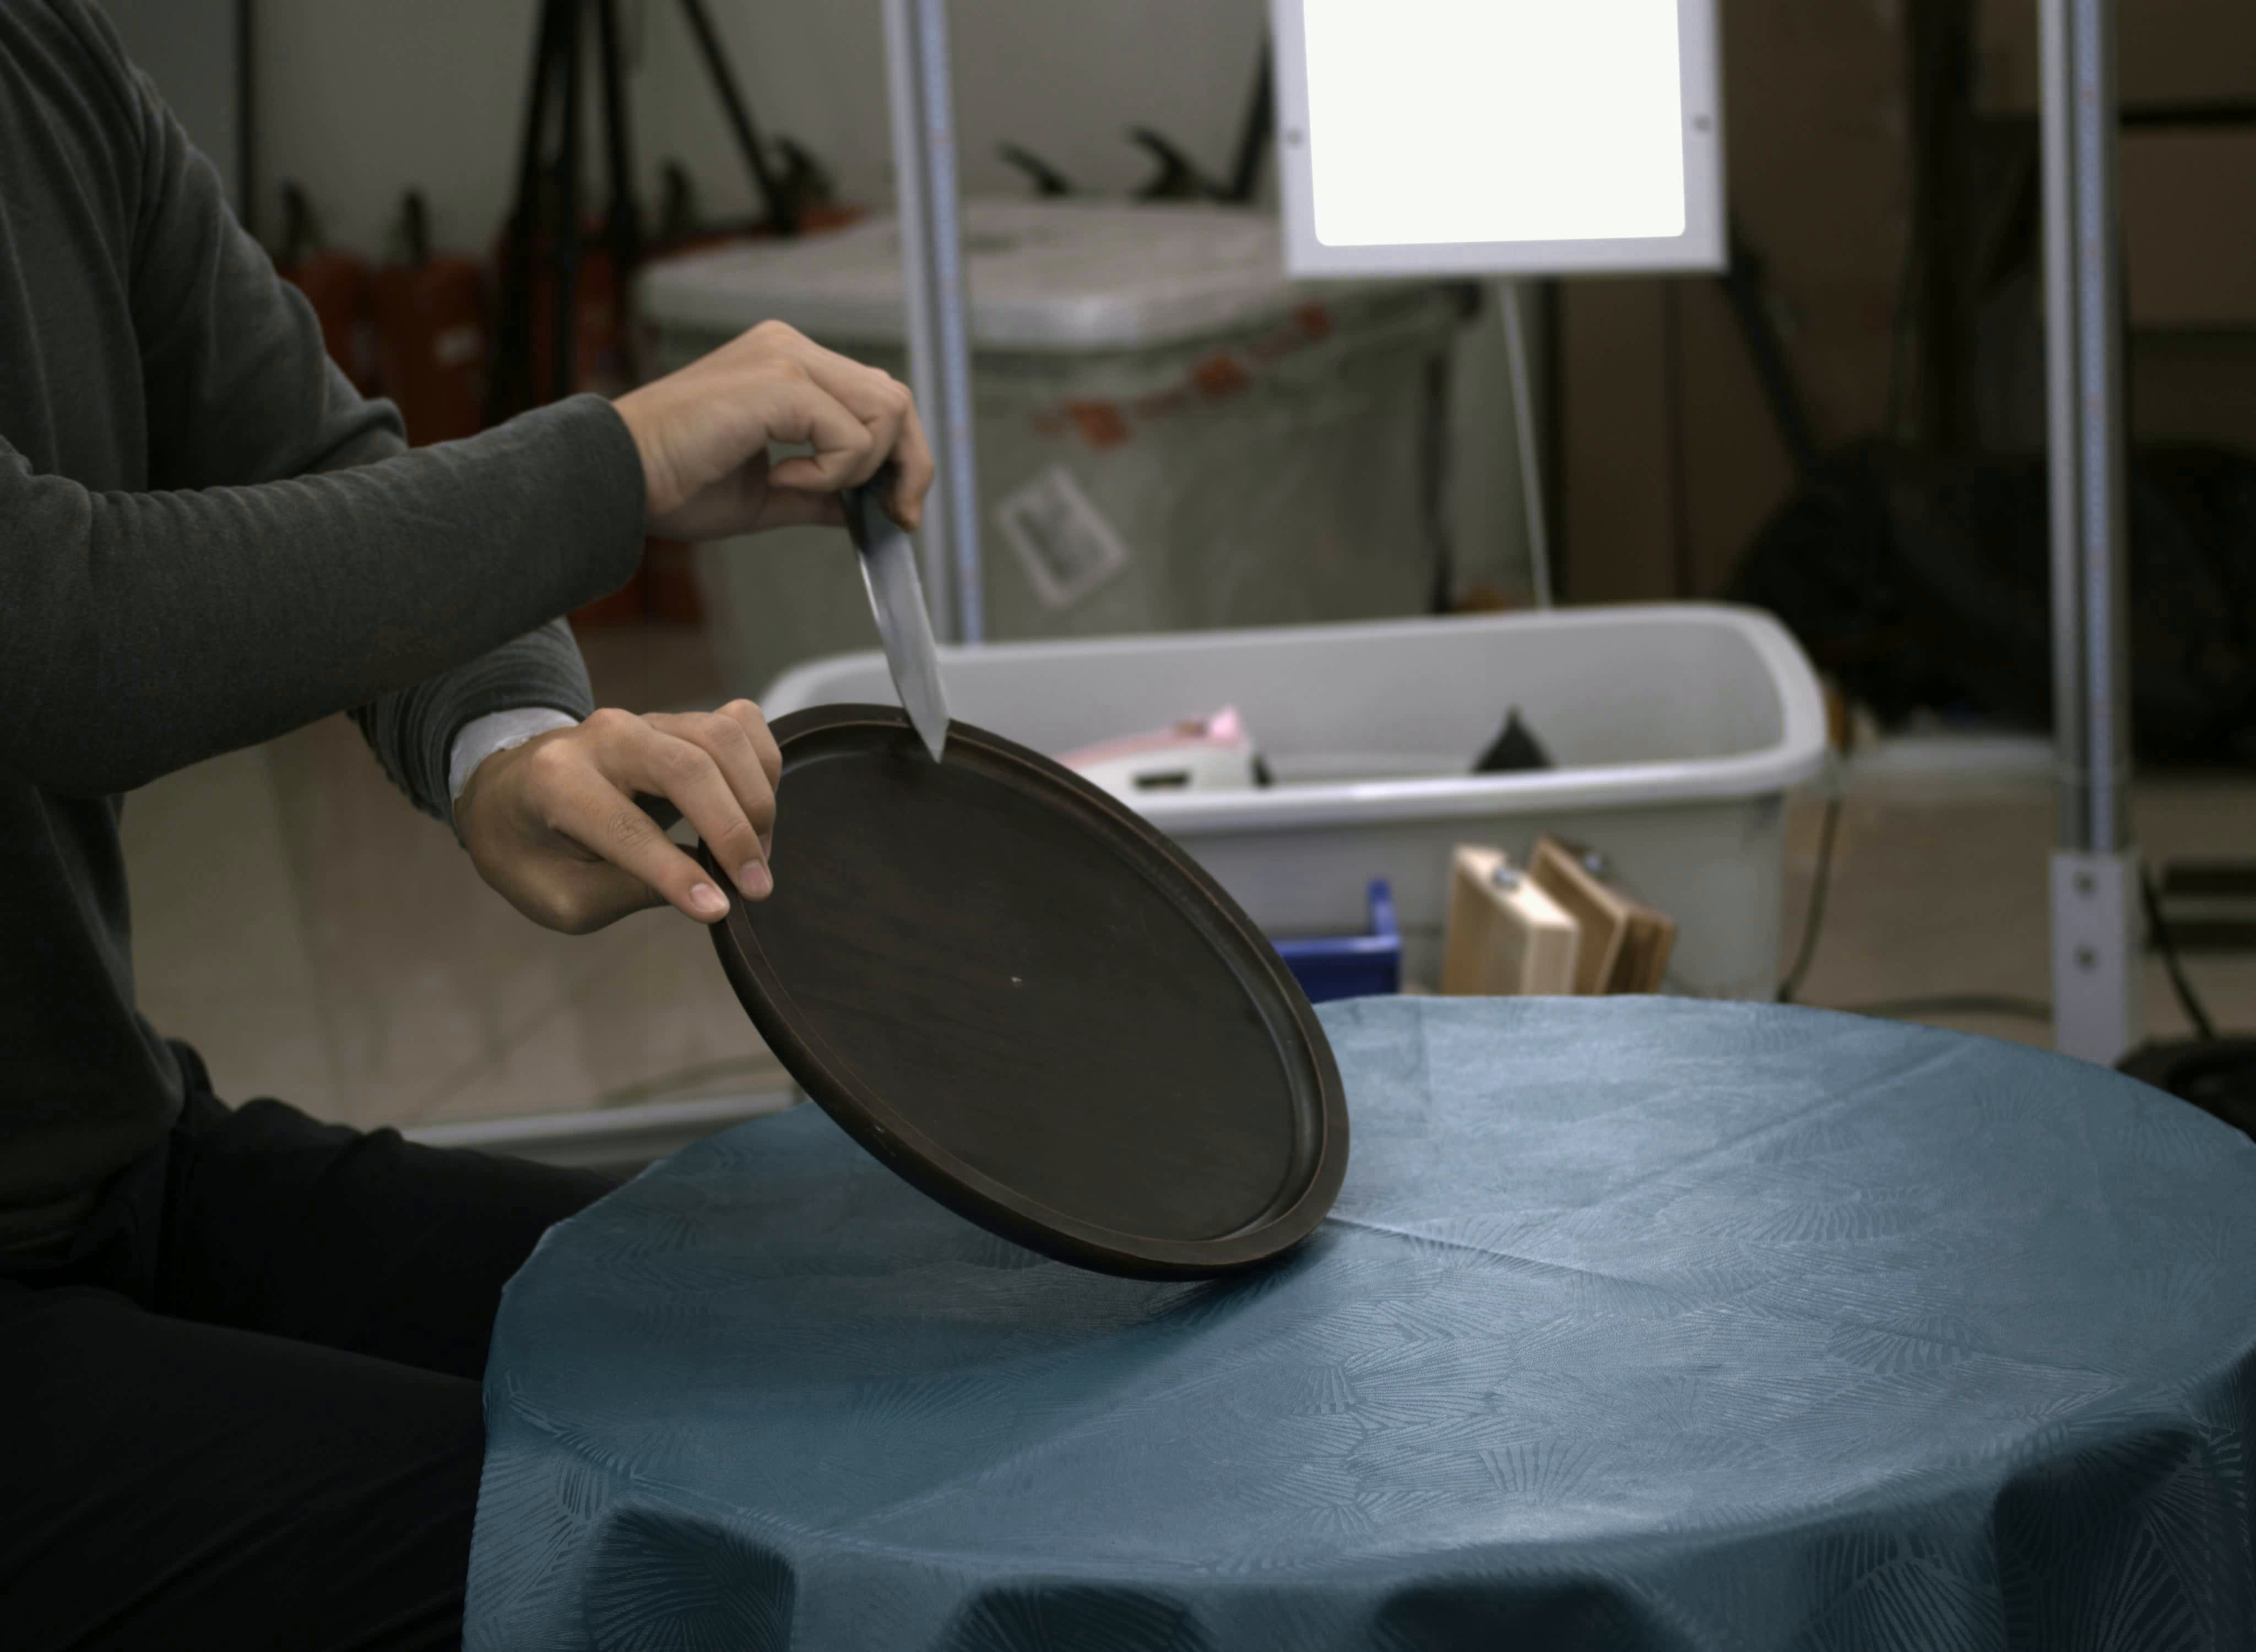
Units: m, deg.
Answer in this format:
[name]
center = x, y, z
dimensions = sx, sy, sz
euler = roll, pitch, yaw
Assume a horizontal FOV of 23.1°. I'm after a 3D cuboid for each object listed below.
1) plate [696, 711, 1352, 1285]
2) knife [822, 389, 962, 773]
[plate]
center = -0.035, 0.057, 1.846
dimensions = 0.251, 0.029, 0.254
euler = 26, 32, -19
[knife]
center = -0.085, -0.091, 1.986
dimensions = 0.024, 0.016, 0.239
euler = 15, 32, -24
